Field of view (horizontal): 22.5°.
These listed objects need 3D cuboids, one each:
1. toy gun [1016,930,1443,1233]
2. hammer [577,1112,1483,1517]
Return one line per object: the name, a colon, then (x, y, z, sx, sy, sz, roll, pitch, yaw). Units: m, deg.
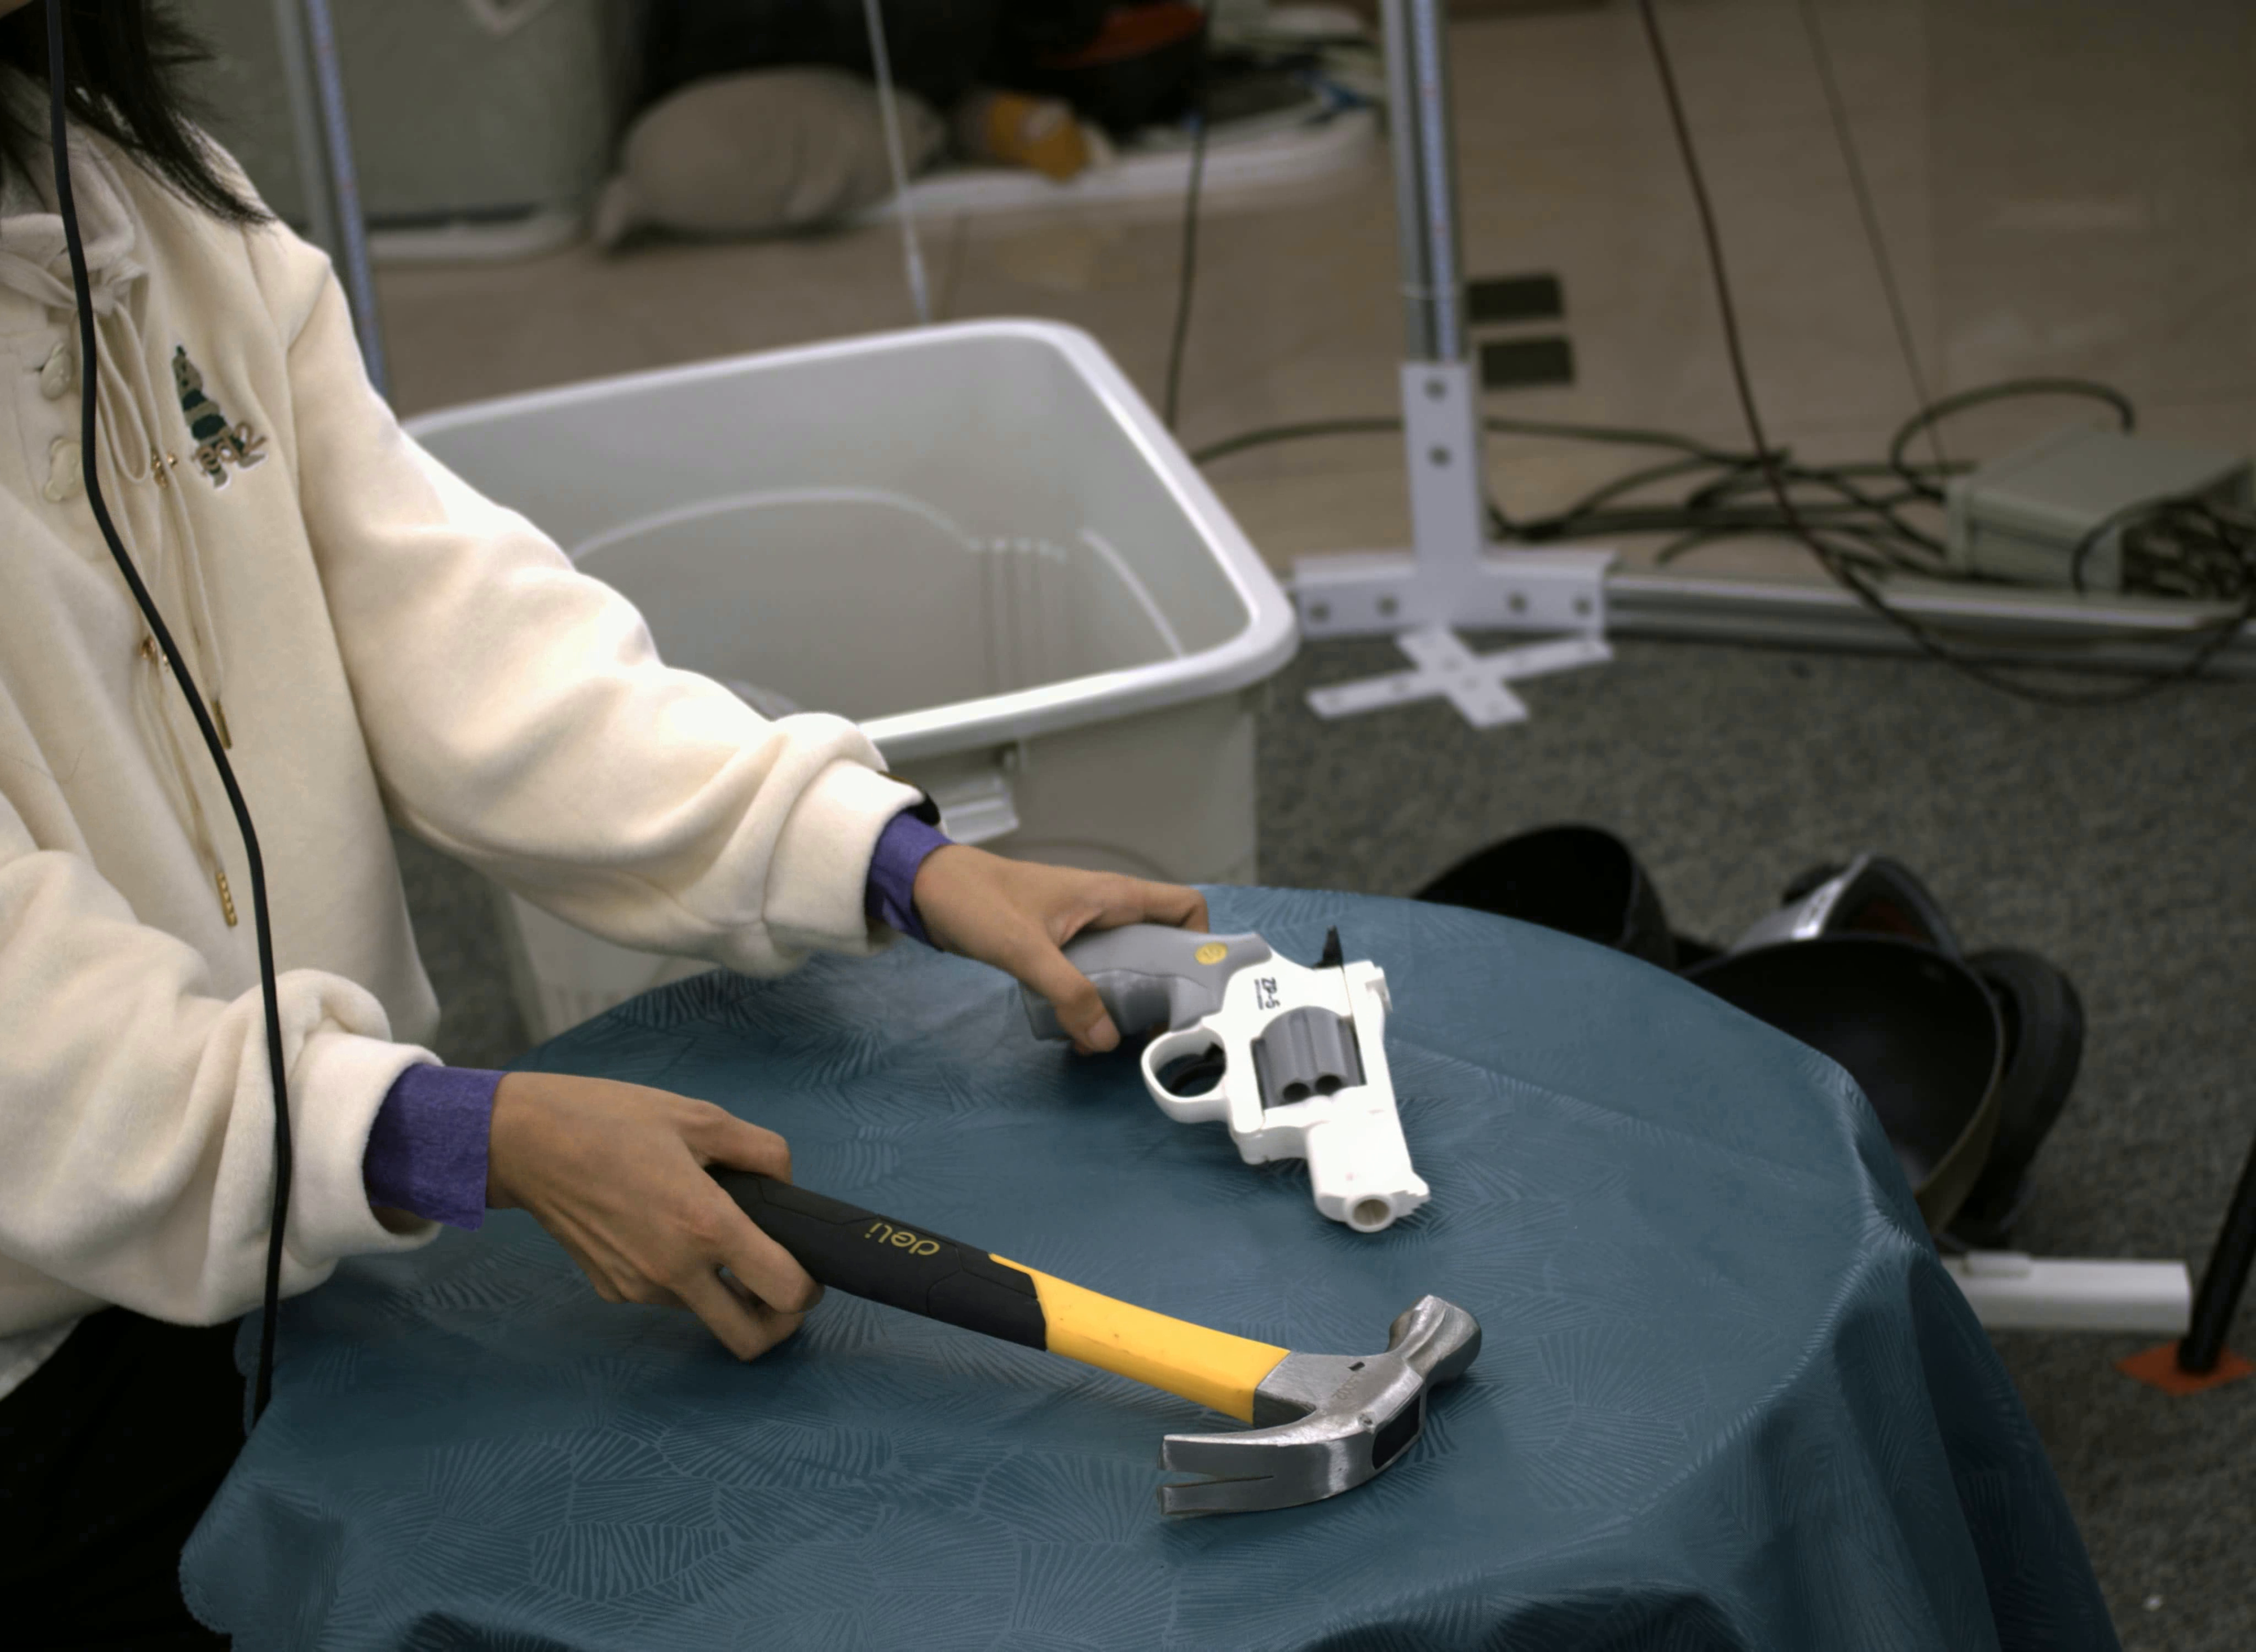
toy gun: (0.036, 0.094, 2.175, 0.141, 0.039, 0.205, -13, 36, 0)
hammer: (-0.051, 0.163, 2.020, 0.336, 0.033, 0.130, 17, 36, 25)
